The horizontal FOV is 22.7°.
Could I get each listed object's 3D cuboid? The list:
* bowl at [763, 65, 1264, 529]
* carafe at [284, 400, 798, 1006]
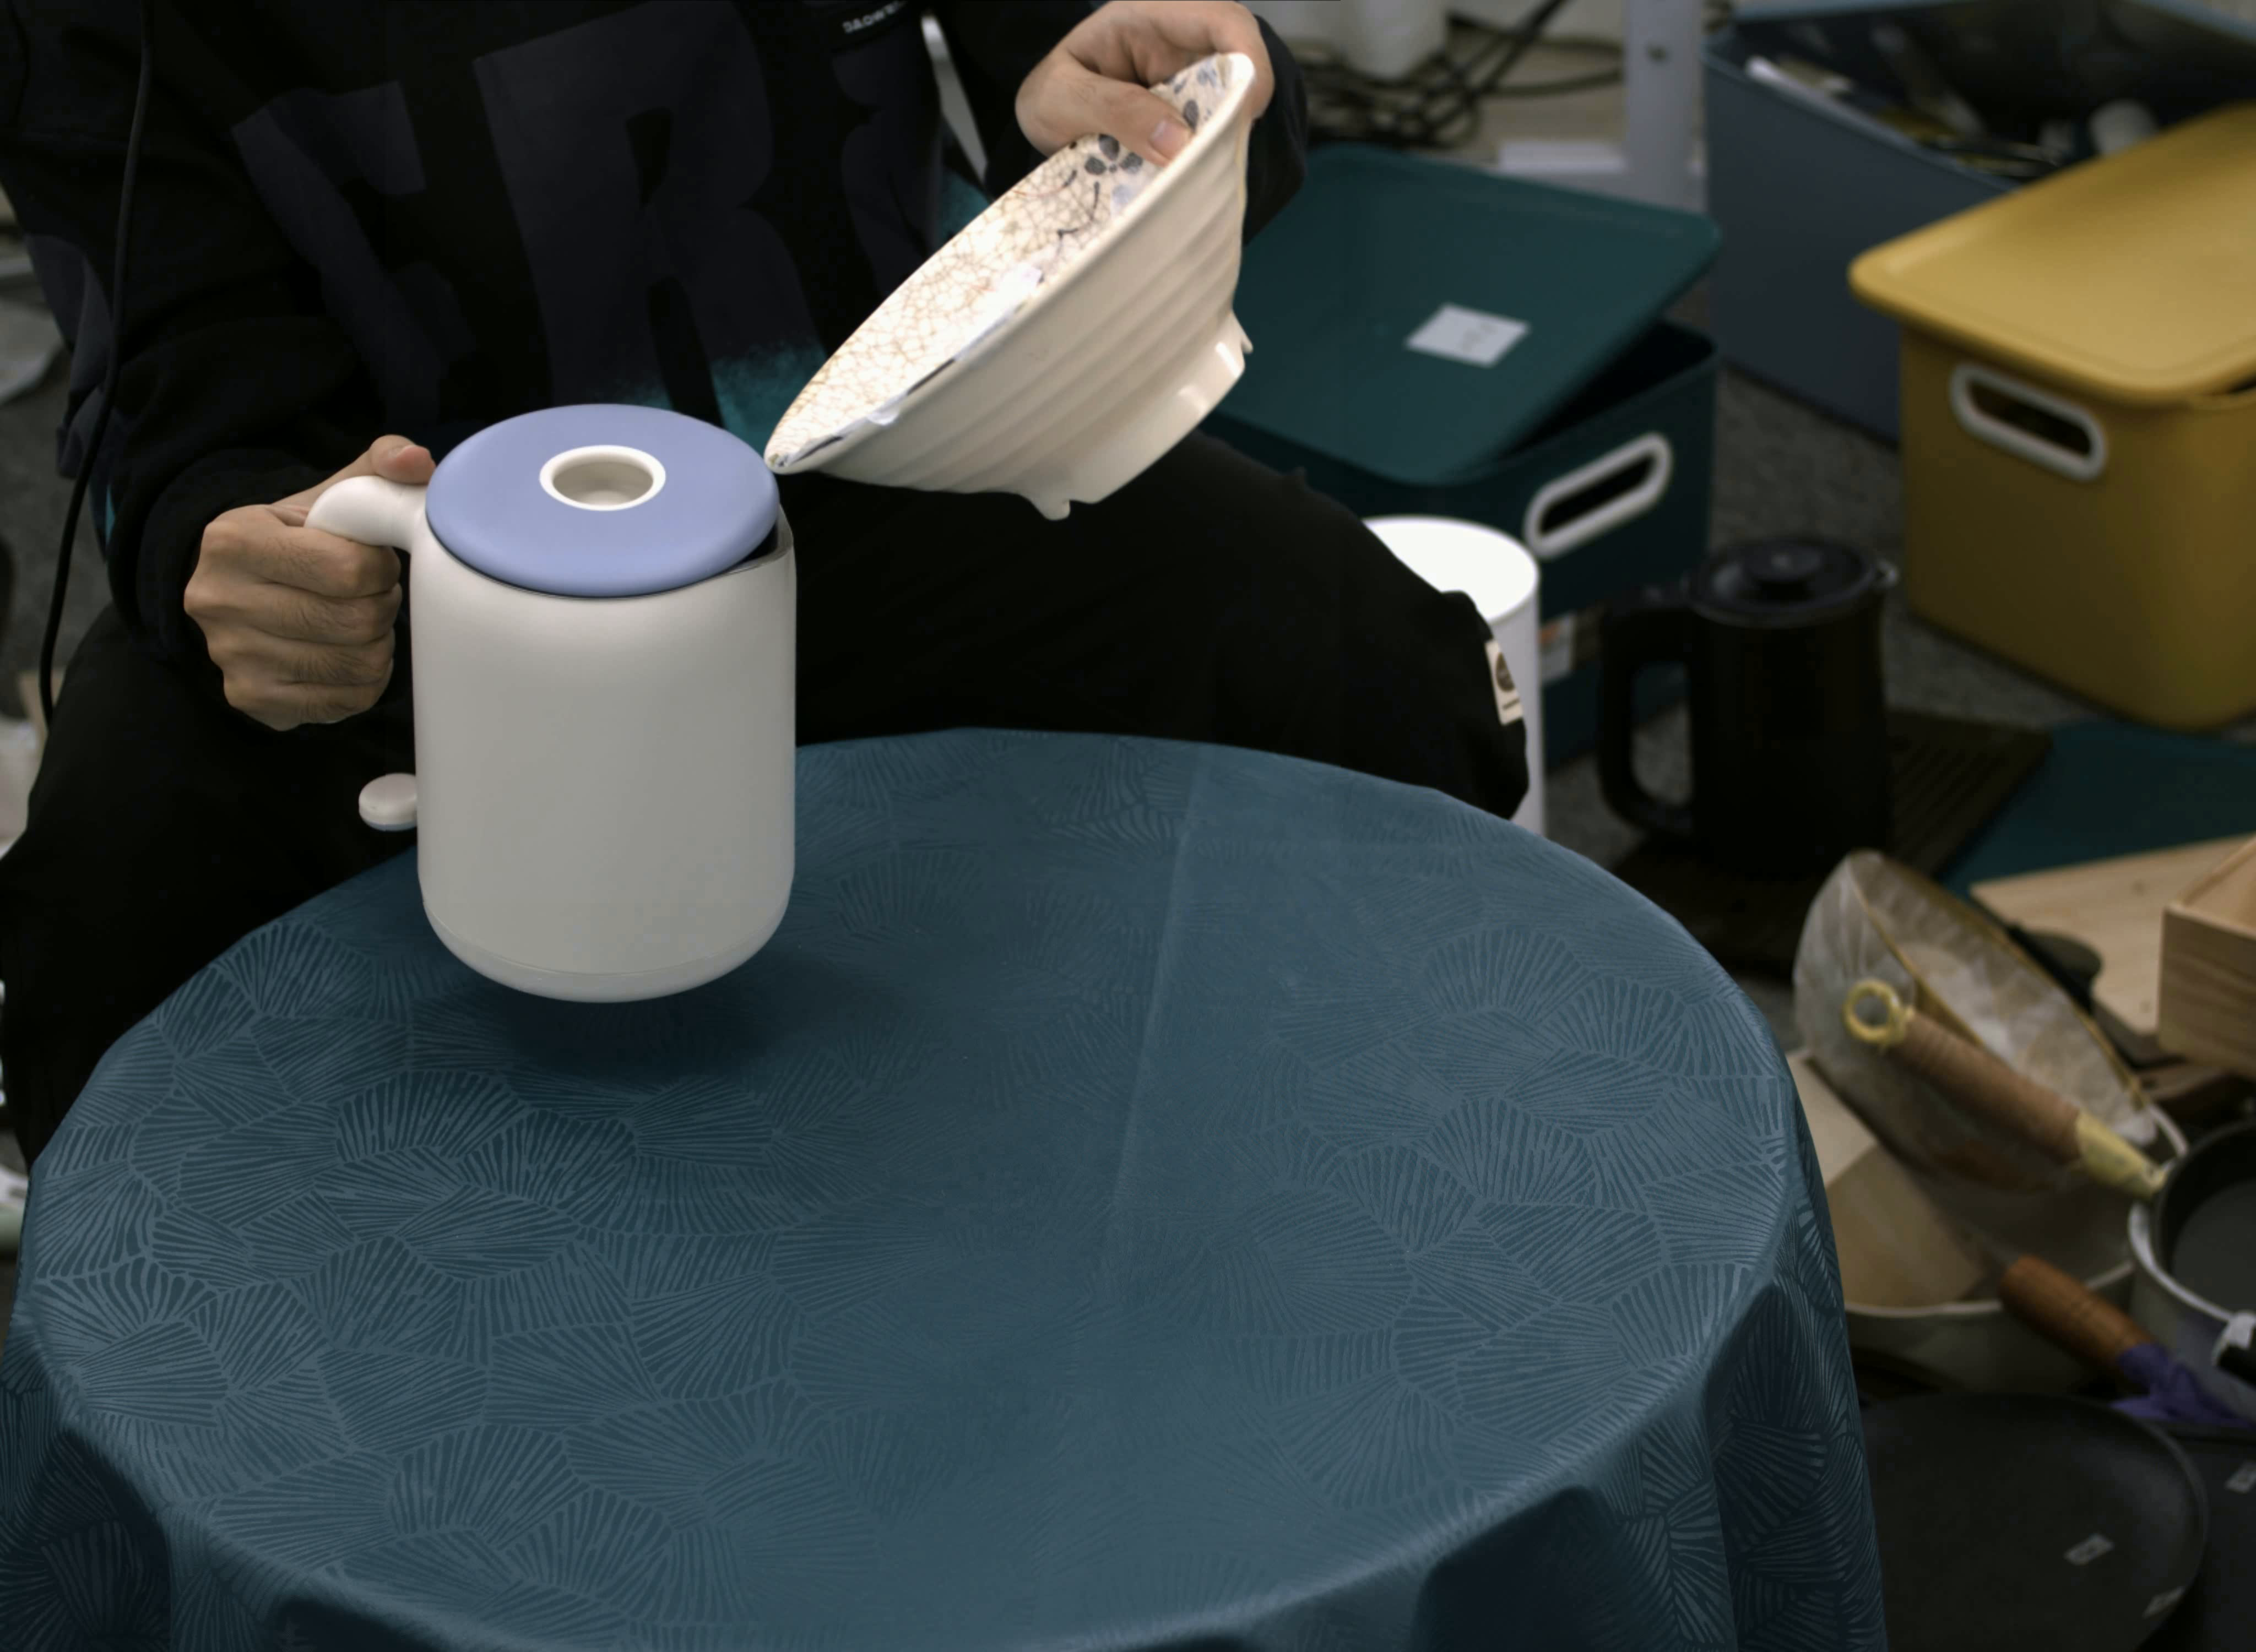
[{"bbox_3d":[-0.016,-0.153,1.821,0.203,0.078,0.206,-37,12,9],"label":"bowl"},{"bbox_3d":[-0.202,-0.046,1.927,0.190,0.180,0.134,10,32,16],"label":"carafe"}]
